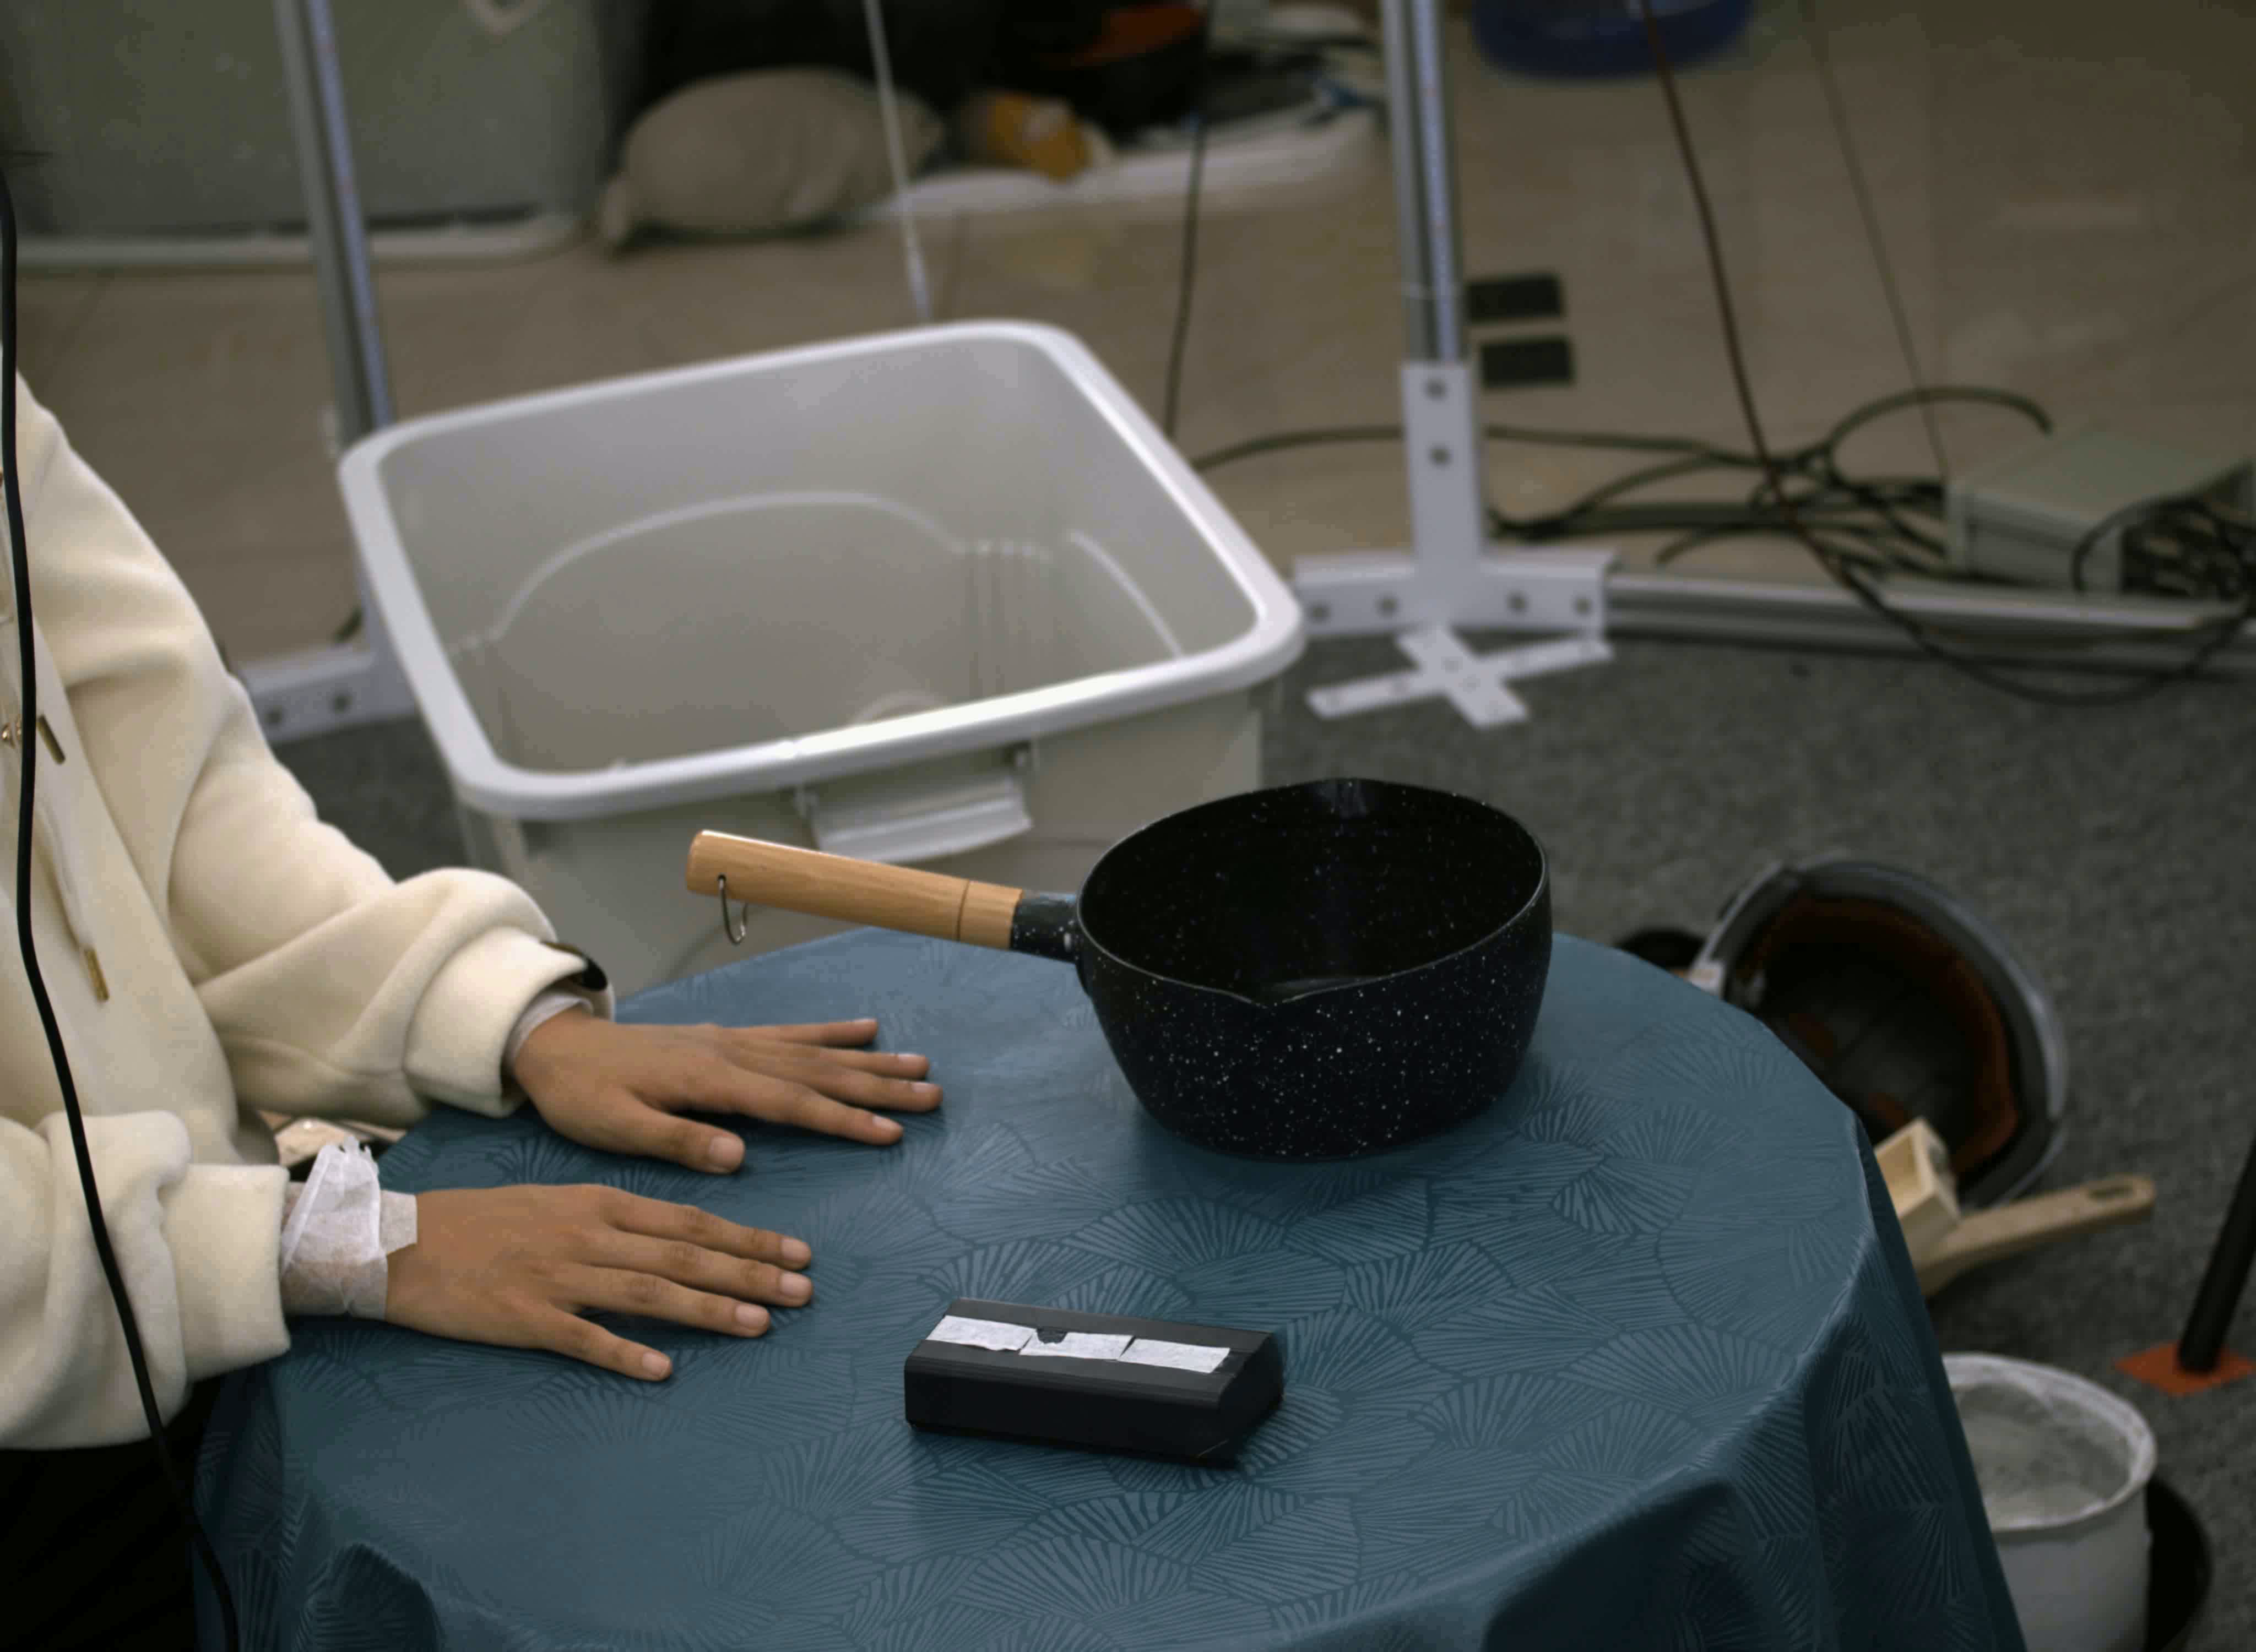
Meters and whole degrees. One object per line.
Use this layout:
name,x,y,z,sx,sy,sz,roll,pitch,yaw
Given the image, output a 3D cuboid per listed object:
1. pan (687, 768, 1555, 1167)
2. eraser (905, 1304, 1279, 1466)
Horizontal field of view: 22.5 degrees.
pan,-0.004,0.050,2.210,0.342,0.110,0.204,0,27,11
eraser,-0.012,0.196,1.997,0.125,0.031,0.053,4,27,24
